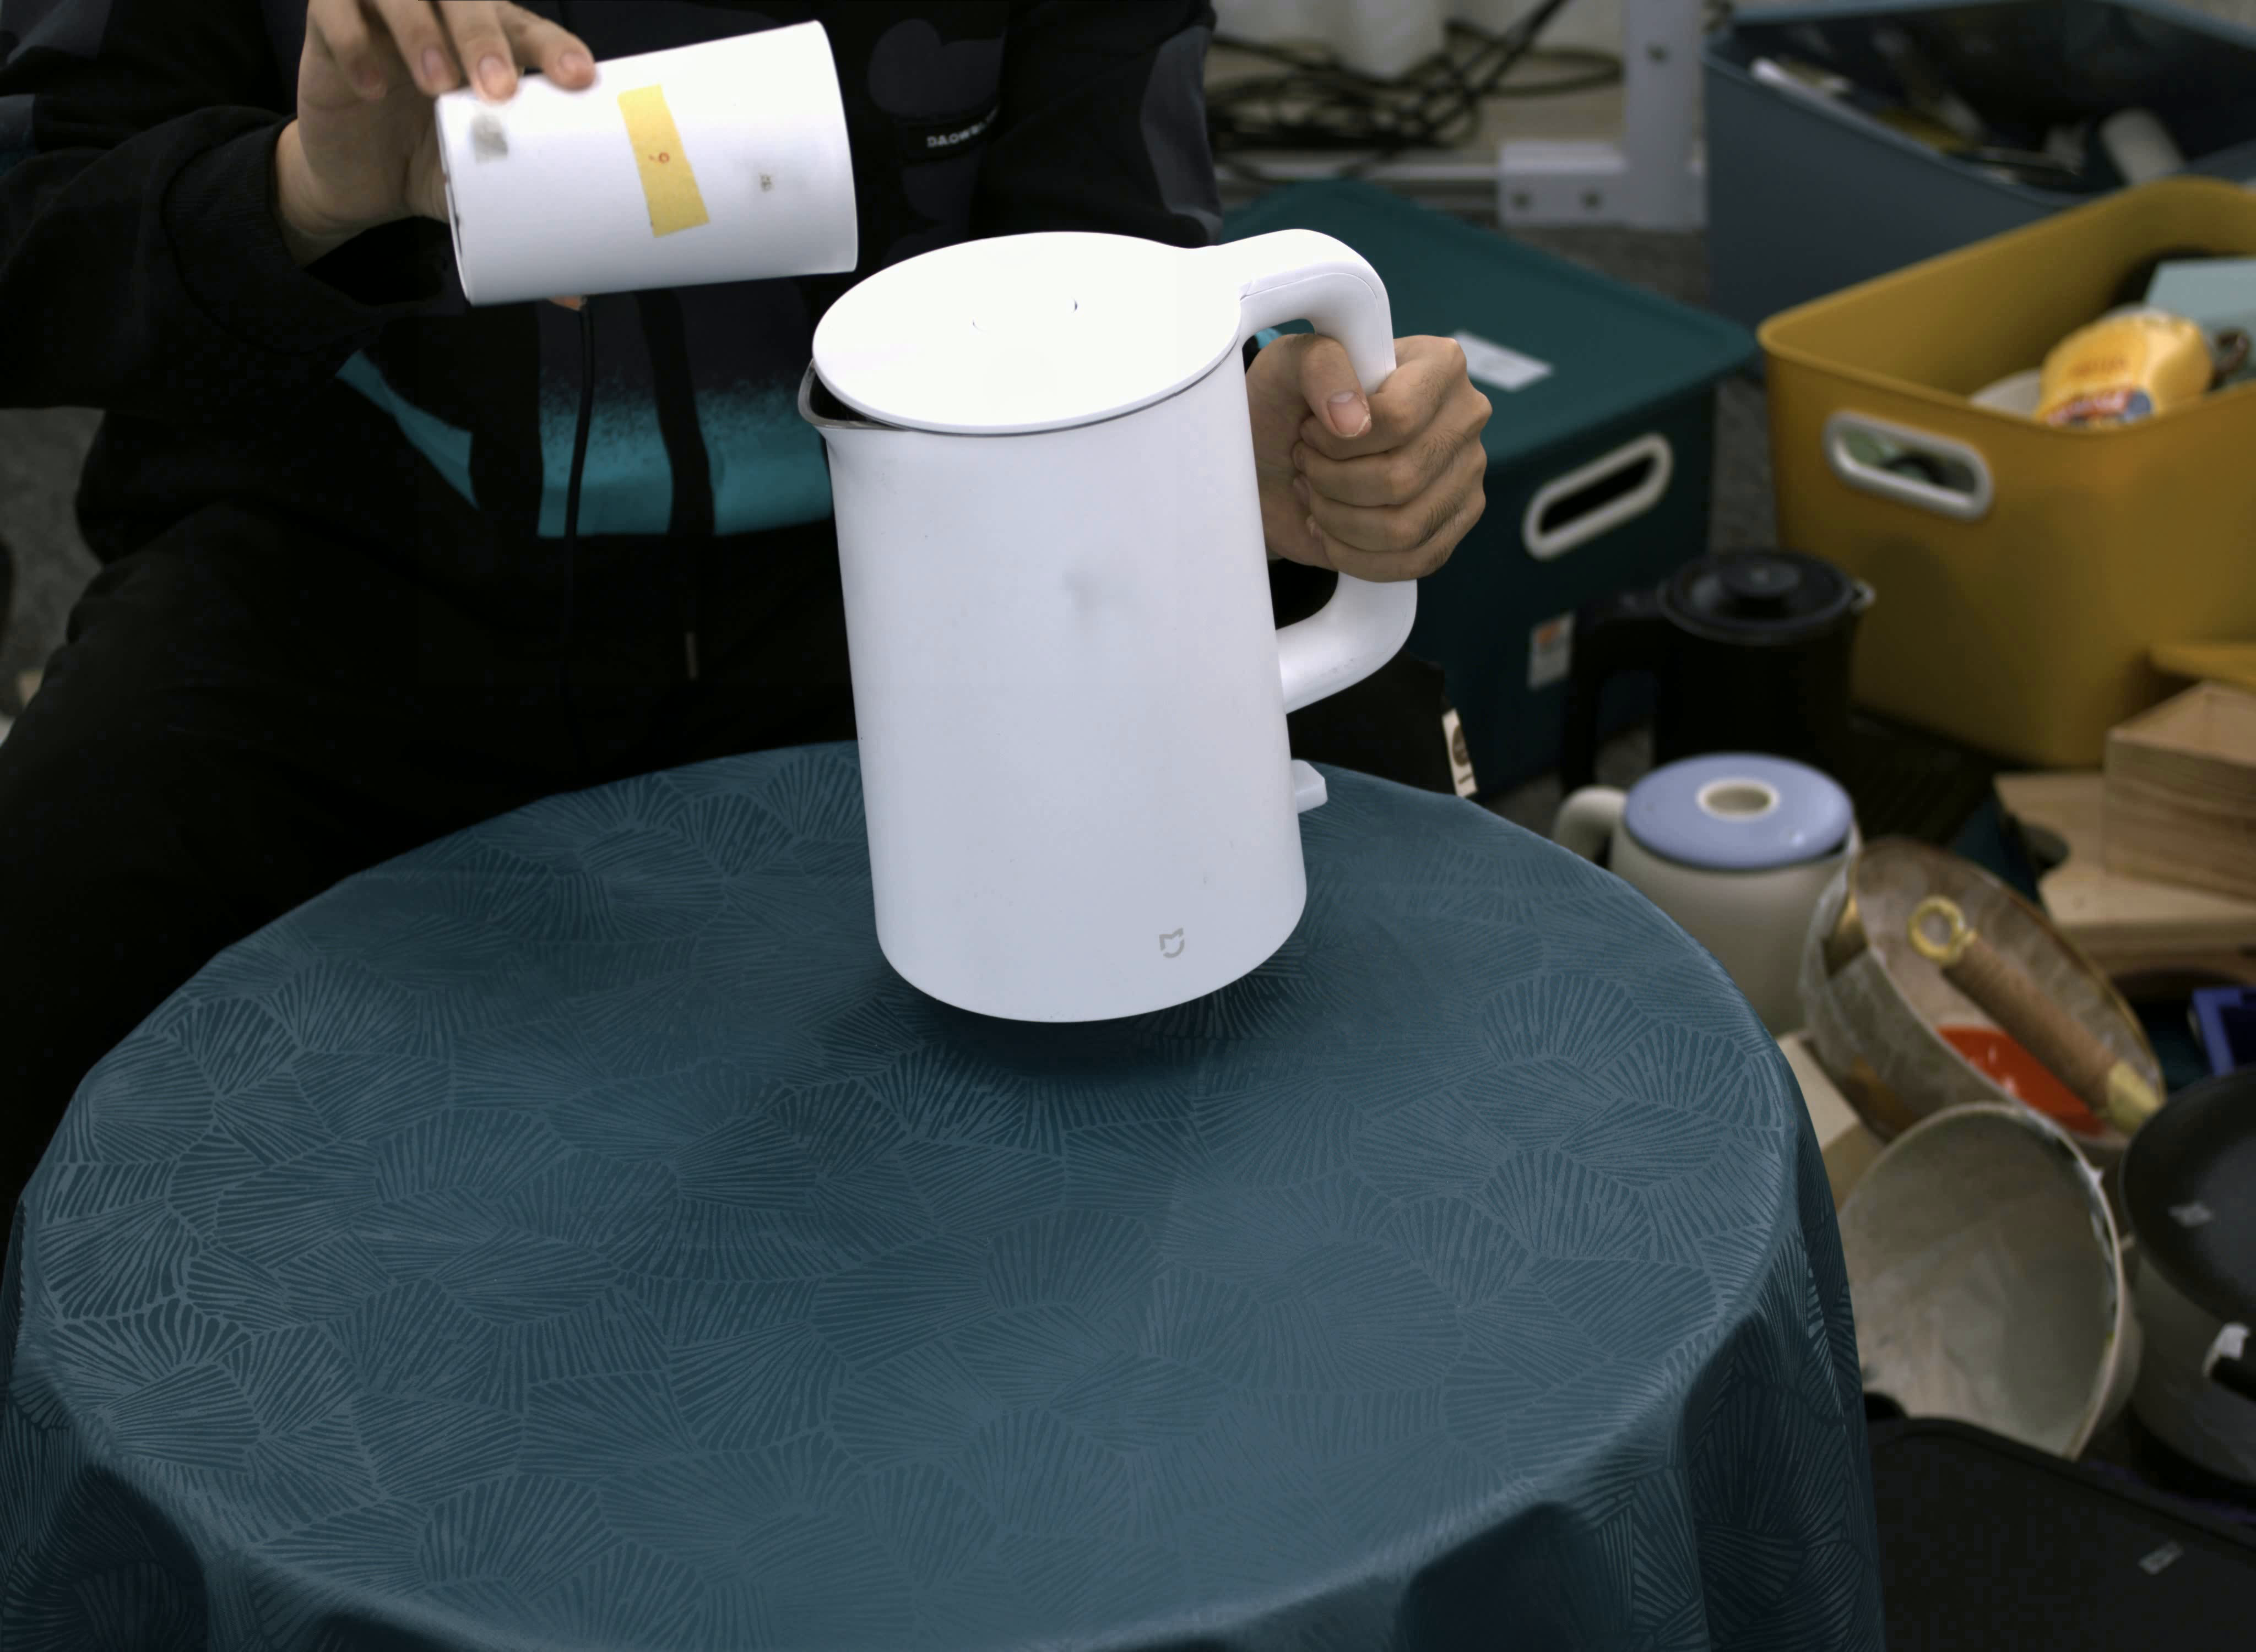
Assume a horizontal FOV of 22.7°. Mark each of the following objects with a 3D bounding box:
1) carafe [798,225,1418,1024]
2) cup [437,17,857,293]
[{"bbox_3d":[0.001,-0.076,1.926,0.214,0.237,0.153,-18,33,-20],"label":"carafe"},{"bbox_3d":[-0.154,-0.211,1.804,0.125,0.081,0.082,-8,27,-10],"label":"cup"}]
